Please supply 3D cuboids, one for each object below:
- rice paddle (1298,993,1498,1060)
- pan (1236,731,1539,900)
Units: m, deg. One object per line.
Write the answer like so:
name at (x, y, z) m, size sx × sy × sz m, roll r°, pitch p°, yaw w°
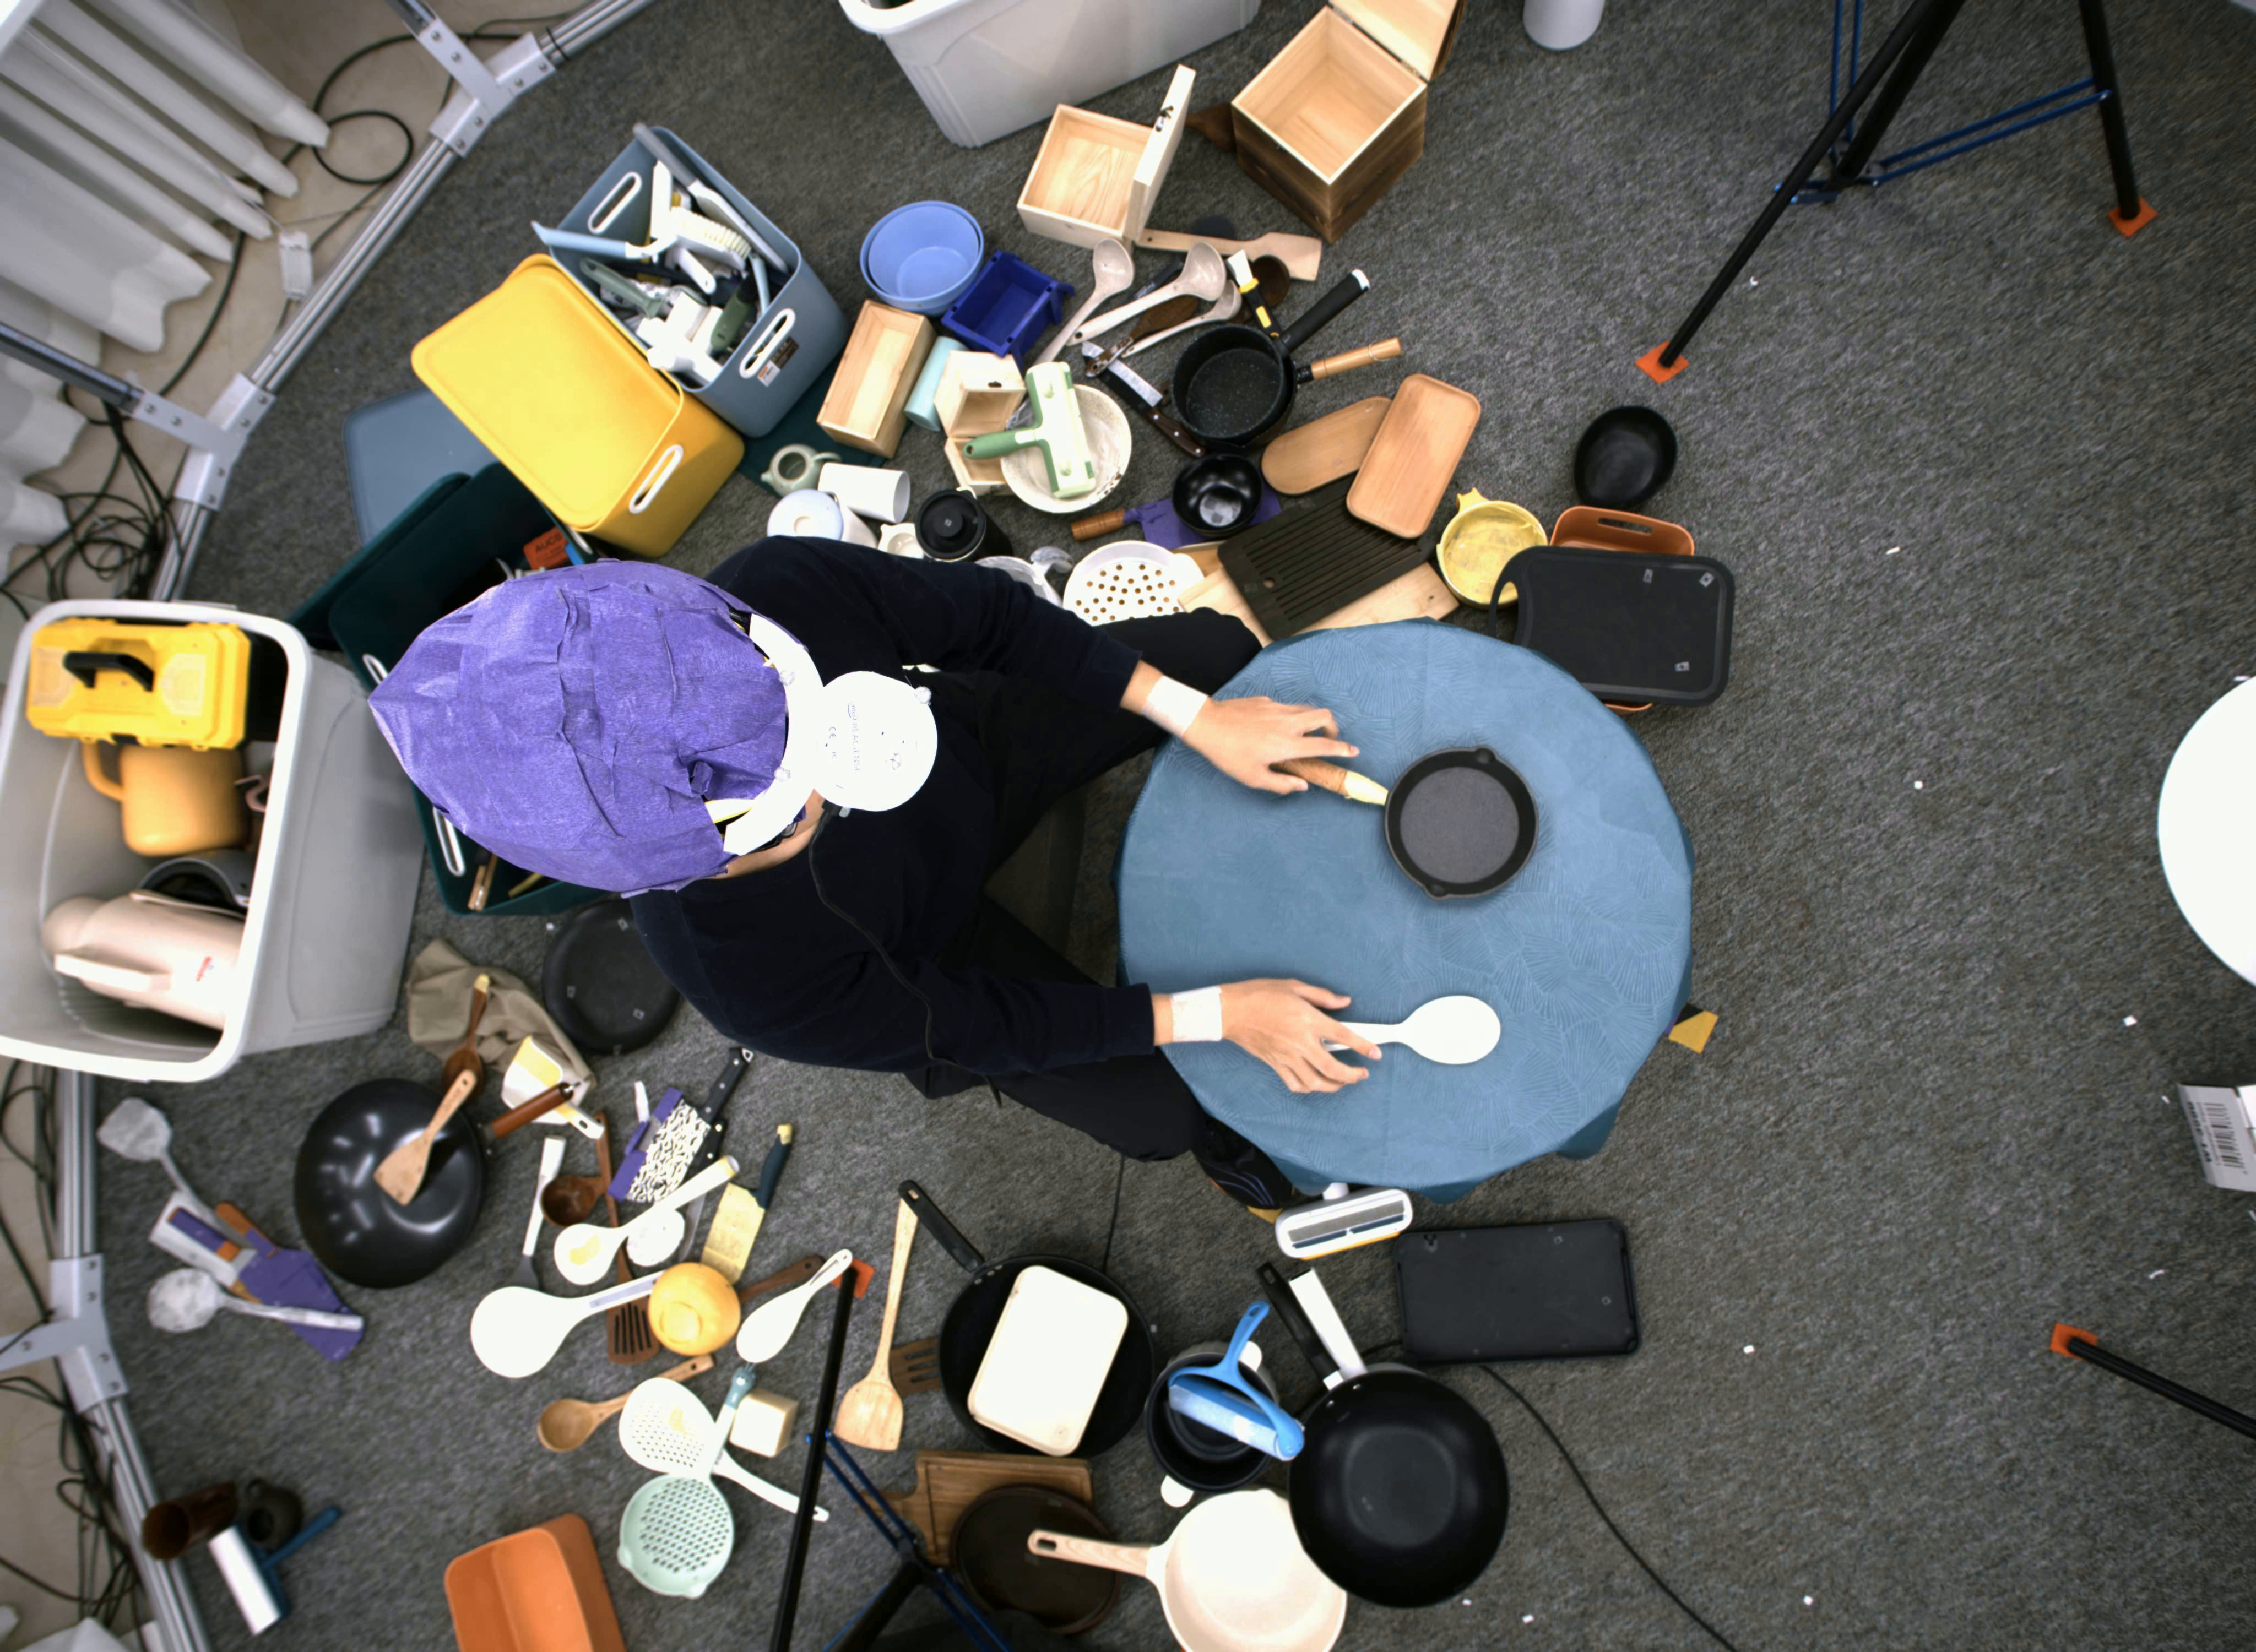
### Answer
rice paddle at (0.280, 0.211, 1.436) m, size 0.206 × 0.029 × 0.068 m, roll -6°, pitch 88°, yaw 10°
pan at (0.267, -0.035, 1.441) m, size 0.324 × 0.049 × 0.169 m, roll 22°, pitch 91°, yaw 9°
